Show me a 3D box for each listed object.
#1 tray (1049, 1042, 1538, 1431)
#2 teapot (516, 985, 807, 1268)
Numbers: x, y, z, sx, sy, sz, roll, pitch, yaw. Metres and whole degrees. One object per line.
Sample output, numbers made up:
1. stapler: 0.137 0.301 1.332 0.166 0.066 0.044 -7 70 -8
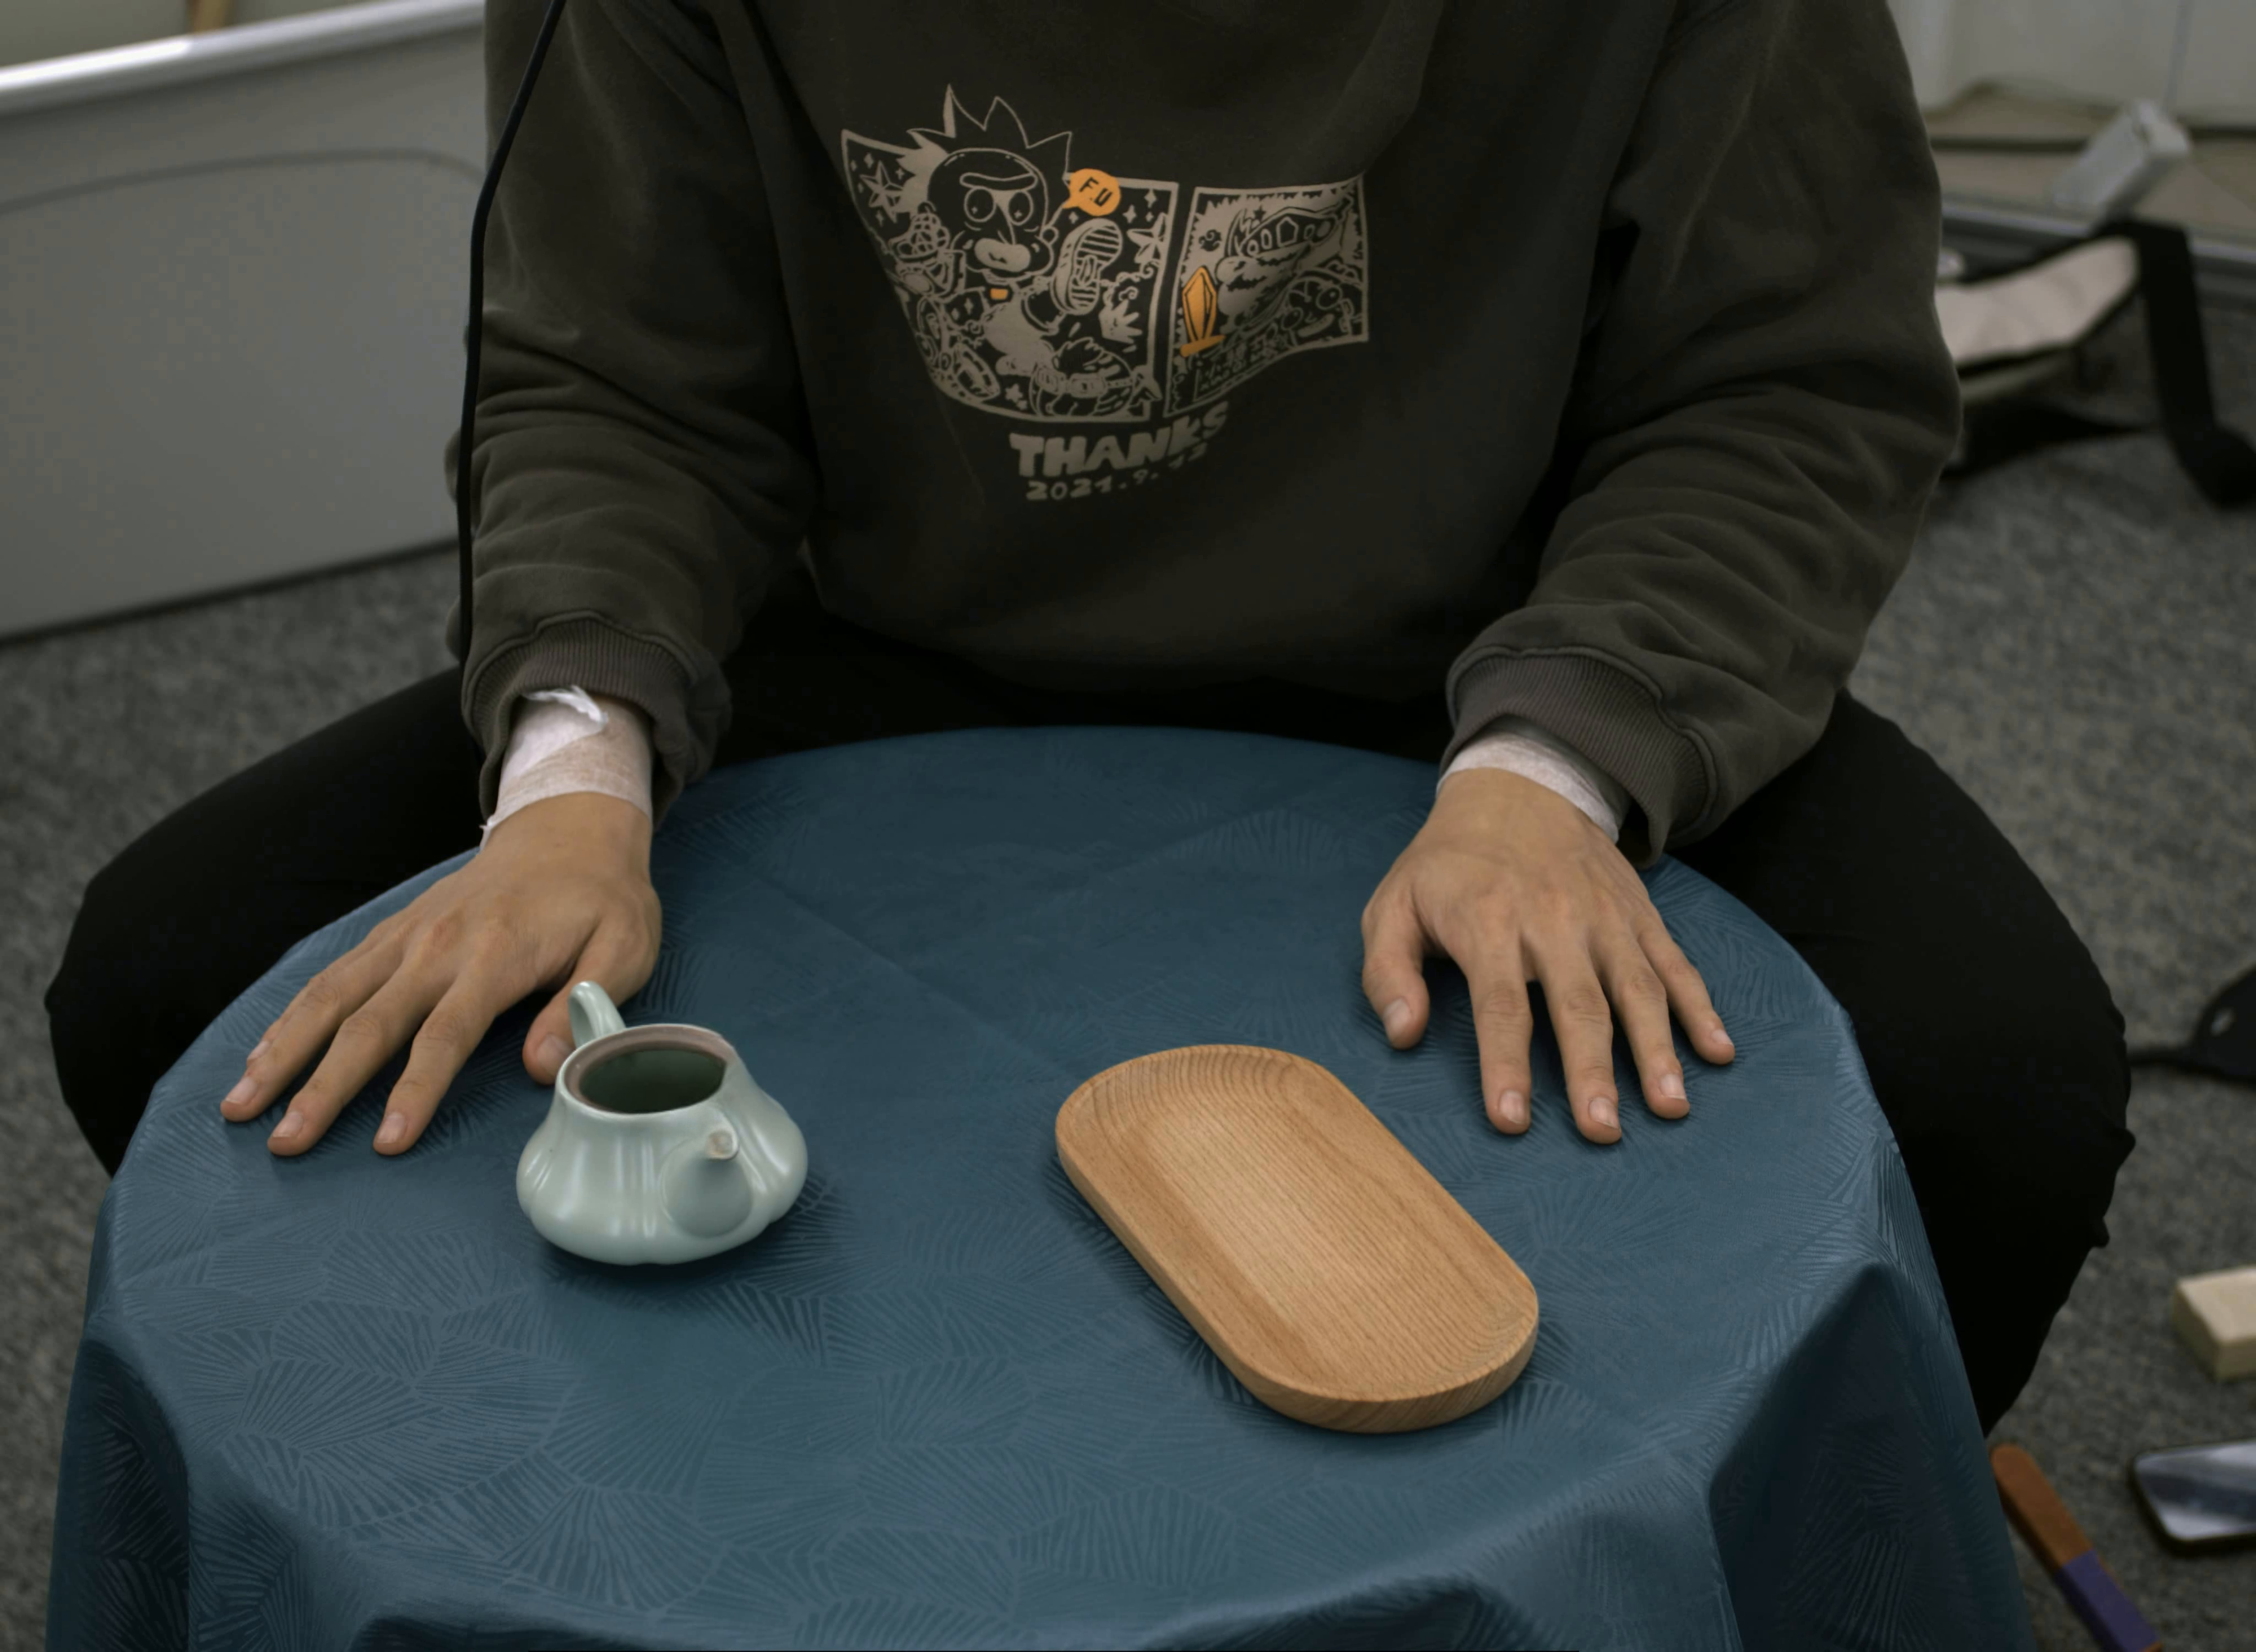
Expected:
1. tray: 0.051 0.131 1.820 0.102 0.020 0.232 -14 28 -20
2. teapot: -0.157 0.102 1.851 0.097 0.061 0.137 -18 32 -24
